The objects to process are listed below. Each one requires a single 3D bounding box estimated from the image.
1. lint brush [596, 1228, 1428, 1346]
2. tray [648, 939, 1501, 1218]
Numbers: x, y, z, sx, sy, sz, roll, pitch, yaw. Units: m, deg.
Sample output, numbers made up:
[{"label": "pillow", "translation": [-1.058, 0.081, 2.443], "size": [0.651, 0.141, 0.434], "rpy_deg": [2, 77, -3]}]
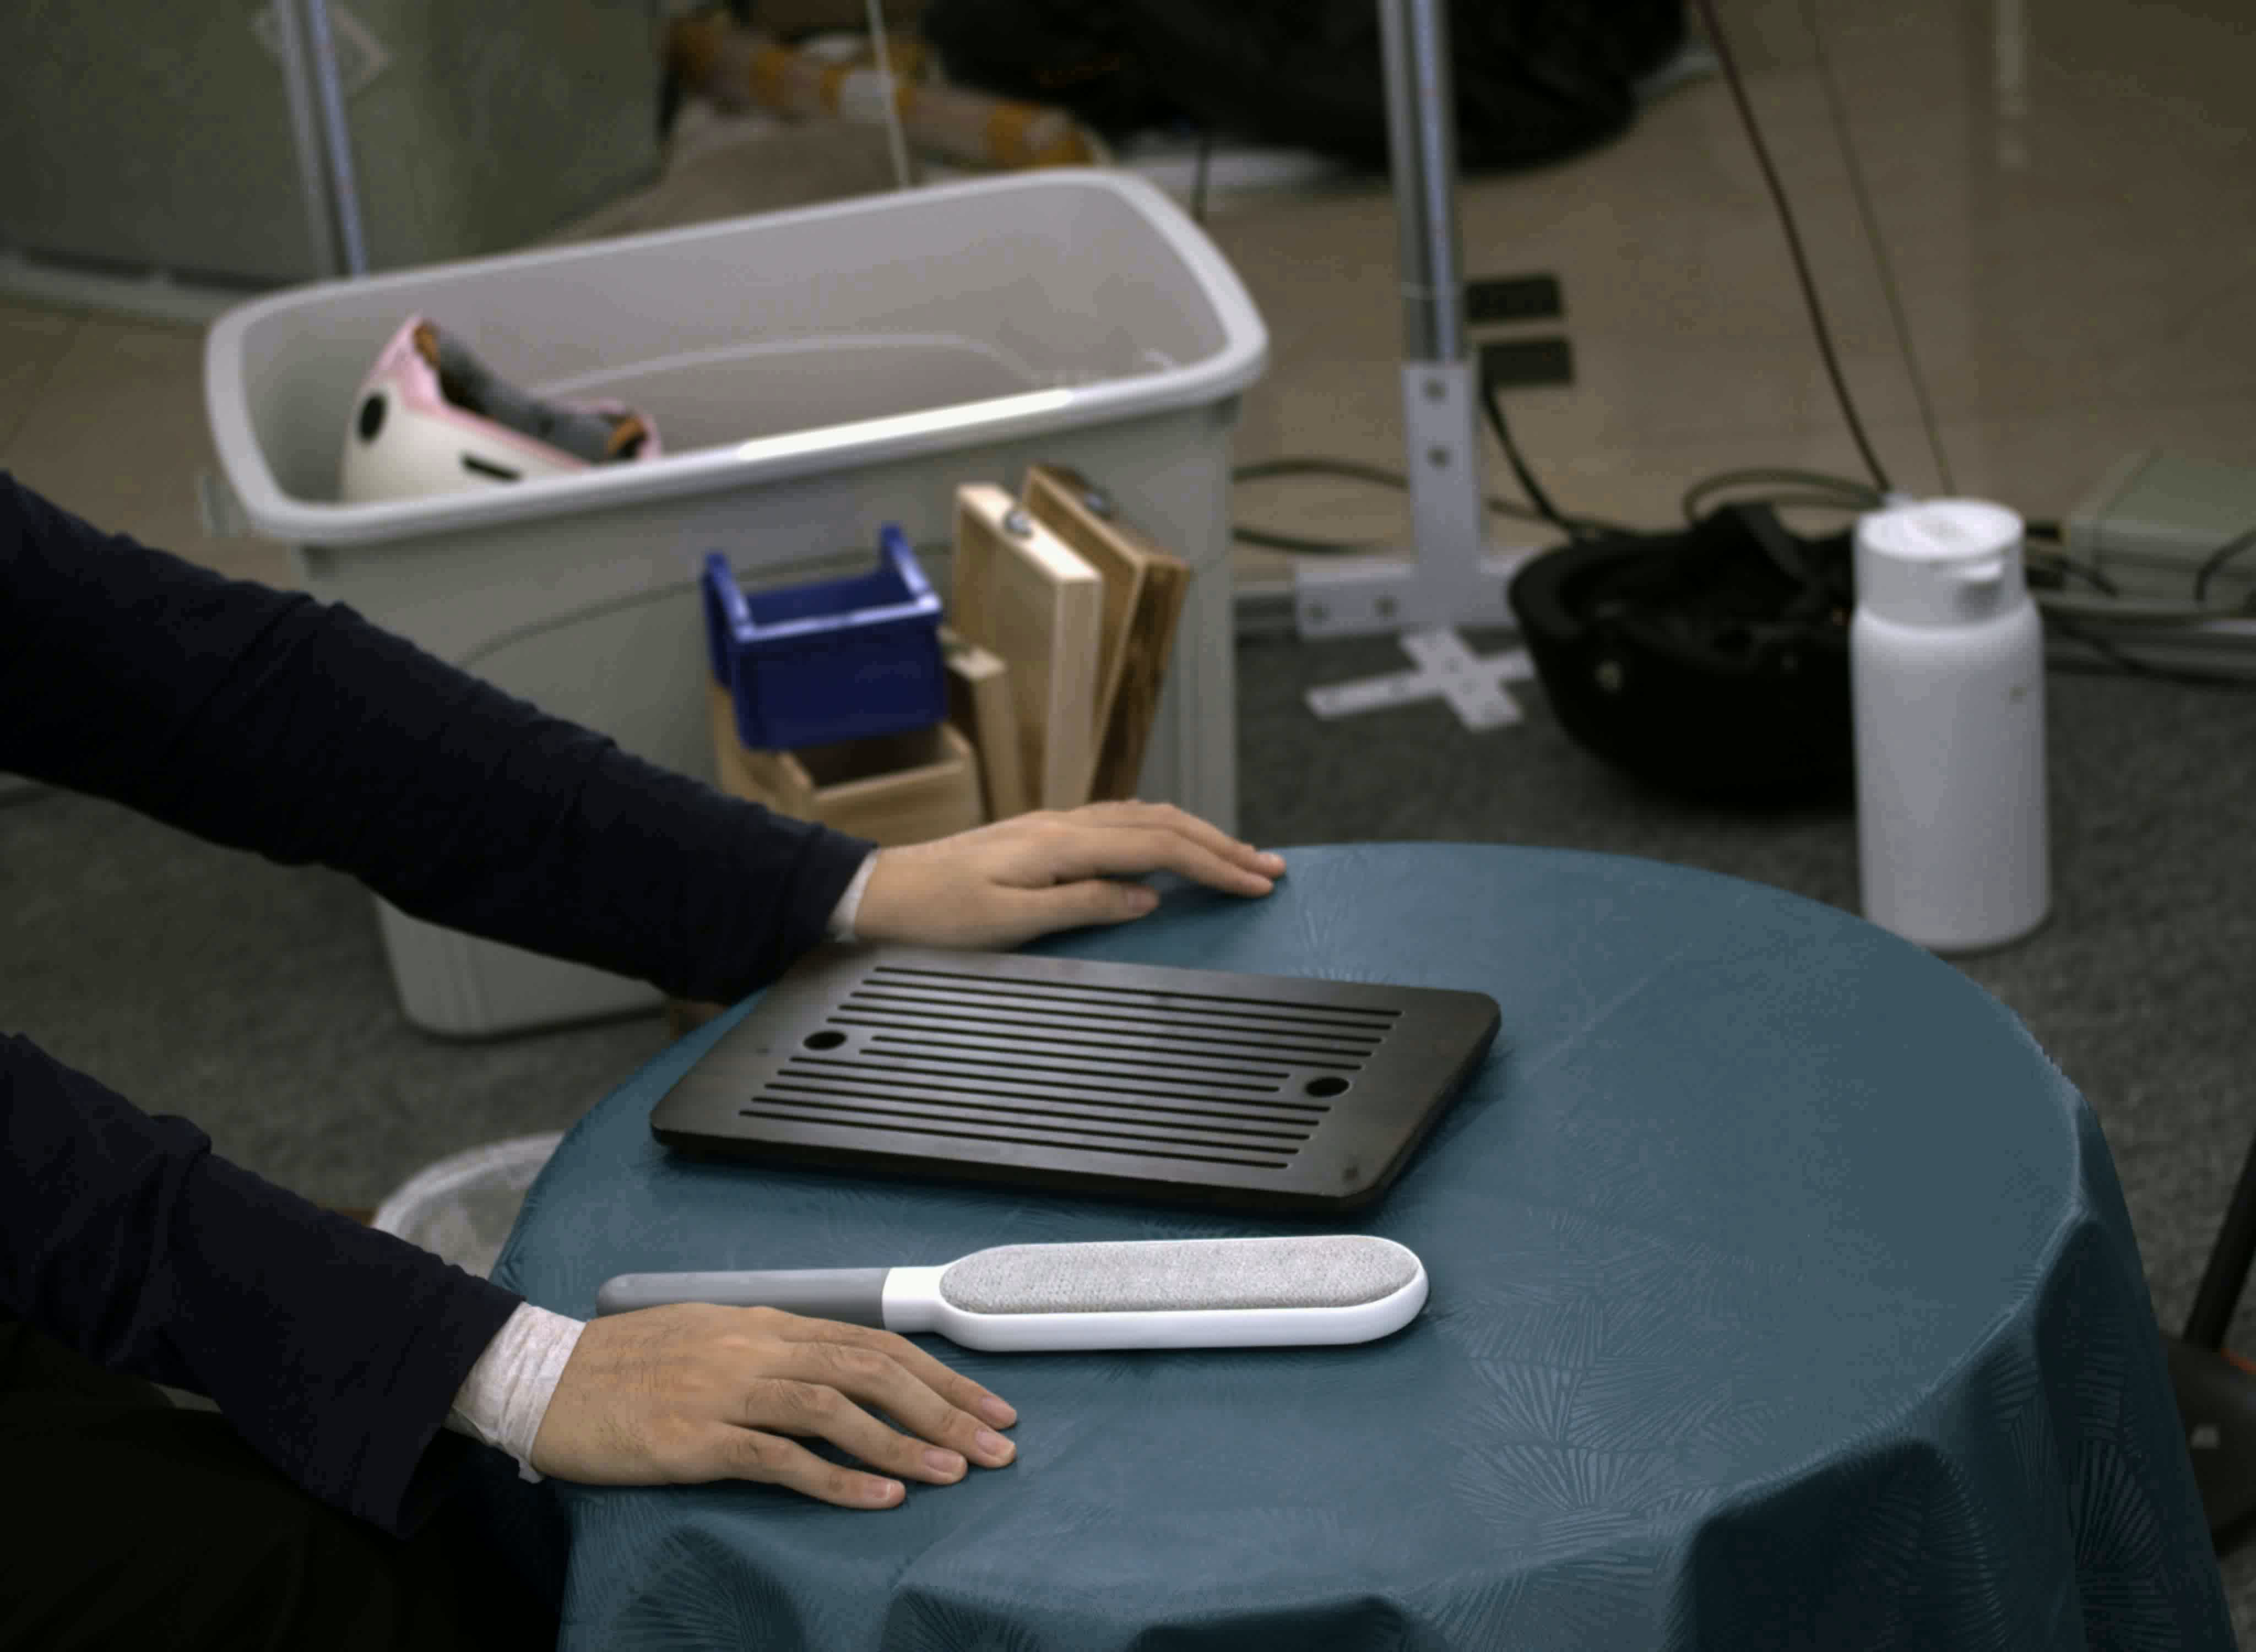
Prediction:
[{"label": "lint brush", "translation": [-0.045, 0.168, 2.067], "size": [0.308, 0.021, 0.059], "rpy_deg": [-2, 30, 11]}, {"label": "tray", "translation": [-0.020, 0.098, 2.226], "size": [0.305, 0.019, 0.168], "rpy_deg": [4, 27, 22]}]
